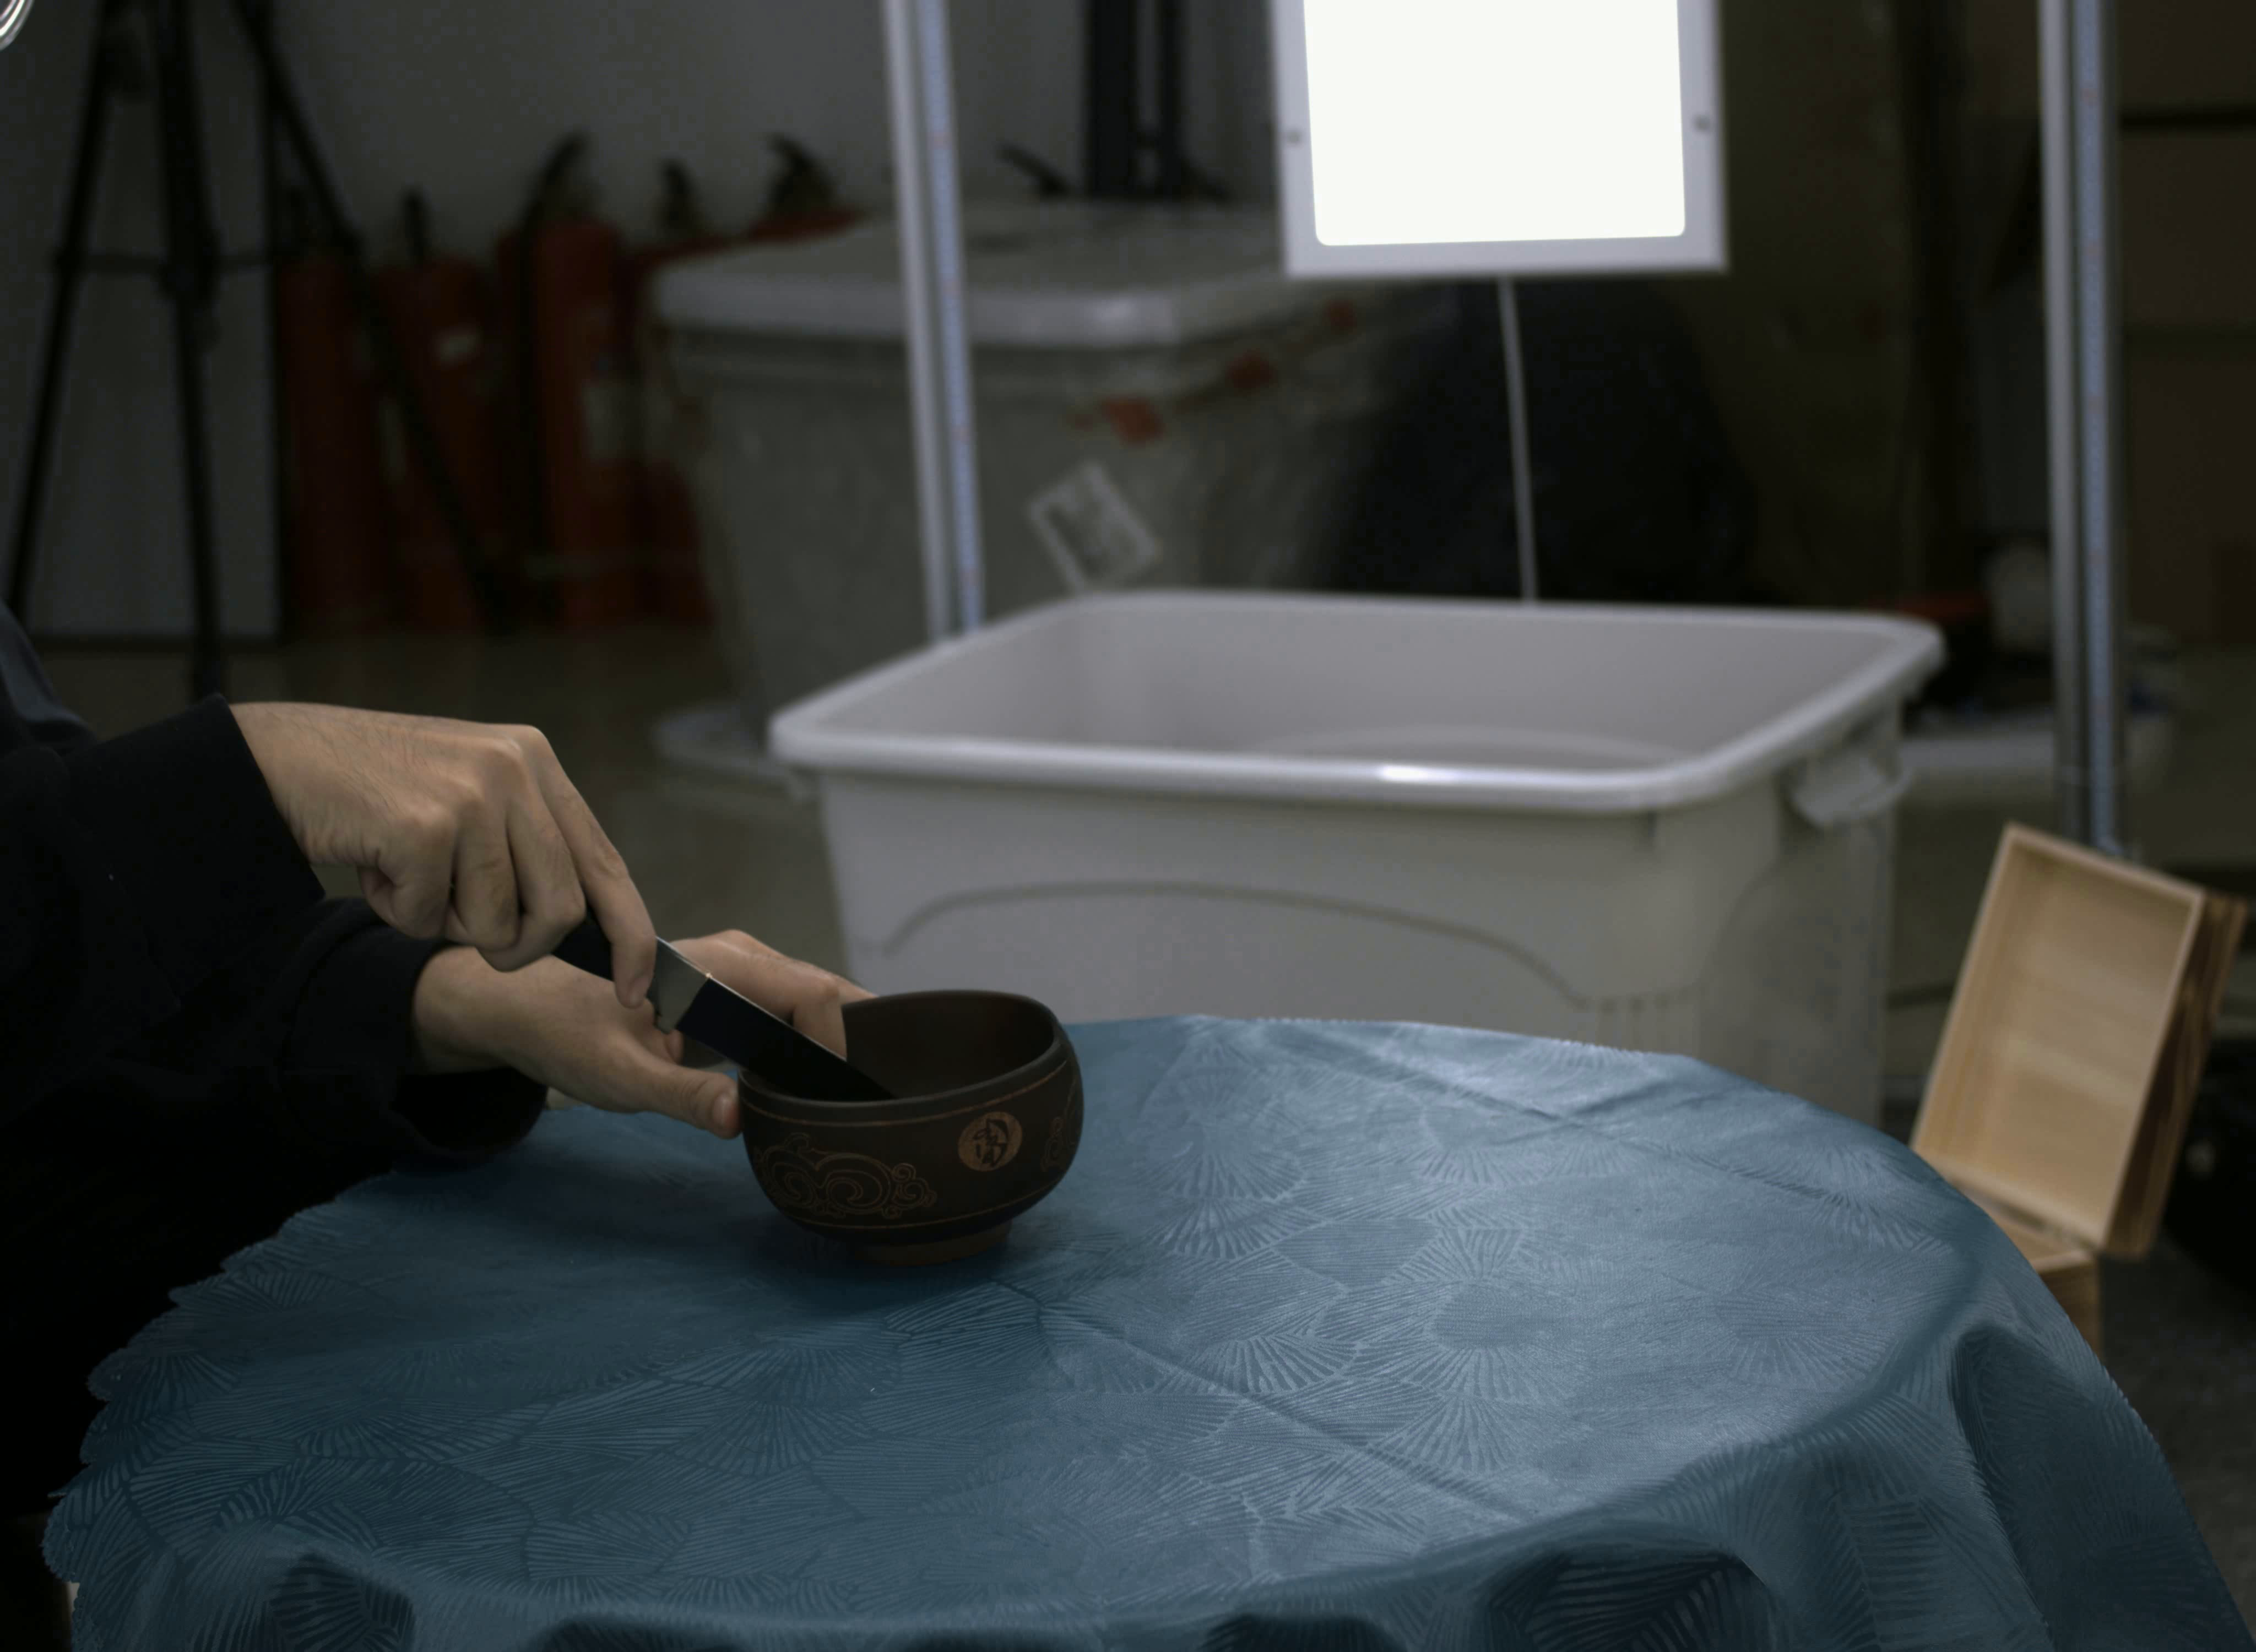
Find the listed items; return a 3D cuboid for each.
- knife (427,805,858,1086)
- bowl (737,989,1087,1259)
[{"bbox_3d":[-0.141,0.060,1.829,0.223,0.026,0.017,35,3,-18],"label":"knife"},{"bbox_3d":[-0.070,0.104,1.852,0.118,0.070,0.118,-7,14,0],"label":"bowl"}]
